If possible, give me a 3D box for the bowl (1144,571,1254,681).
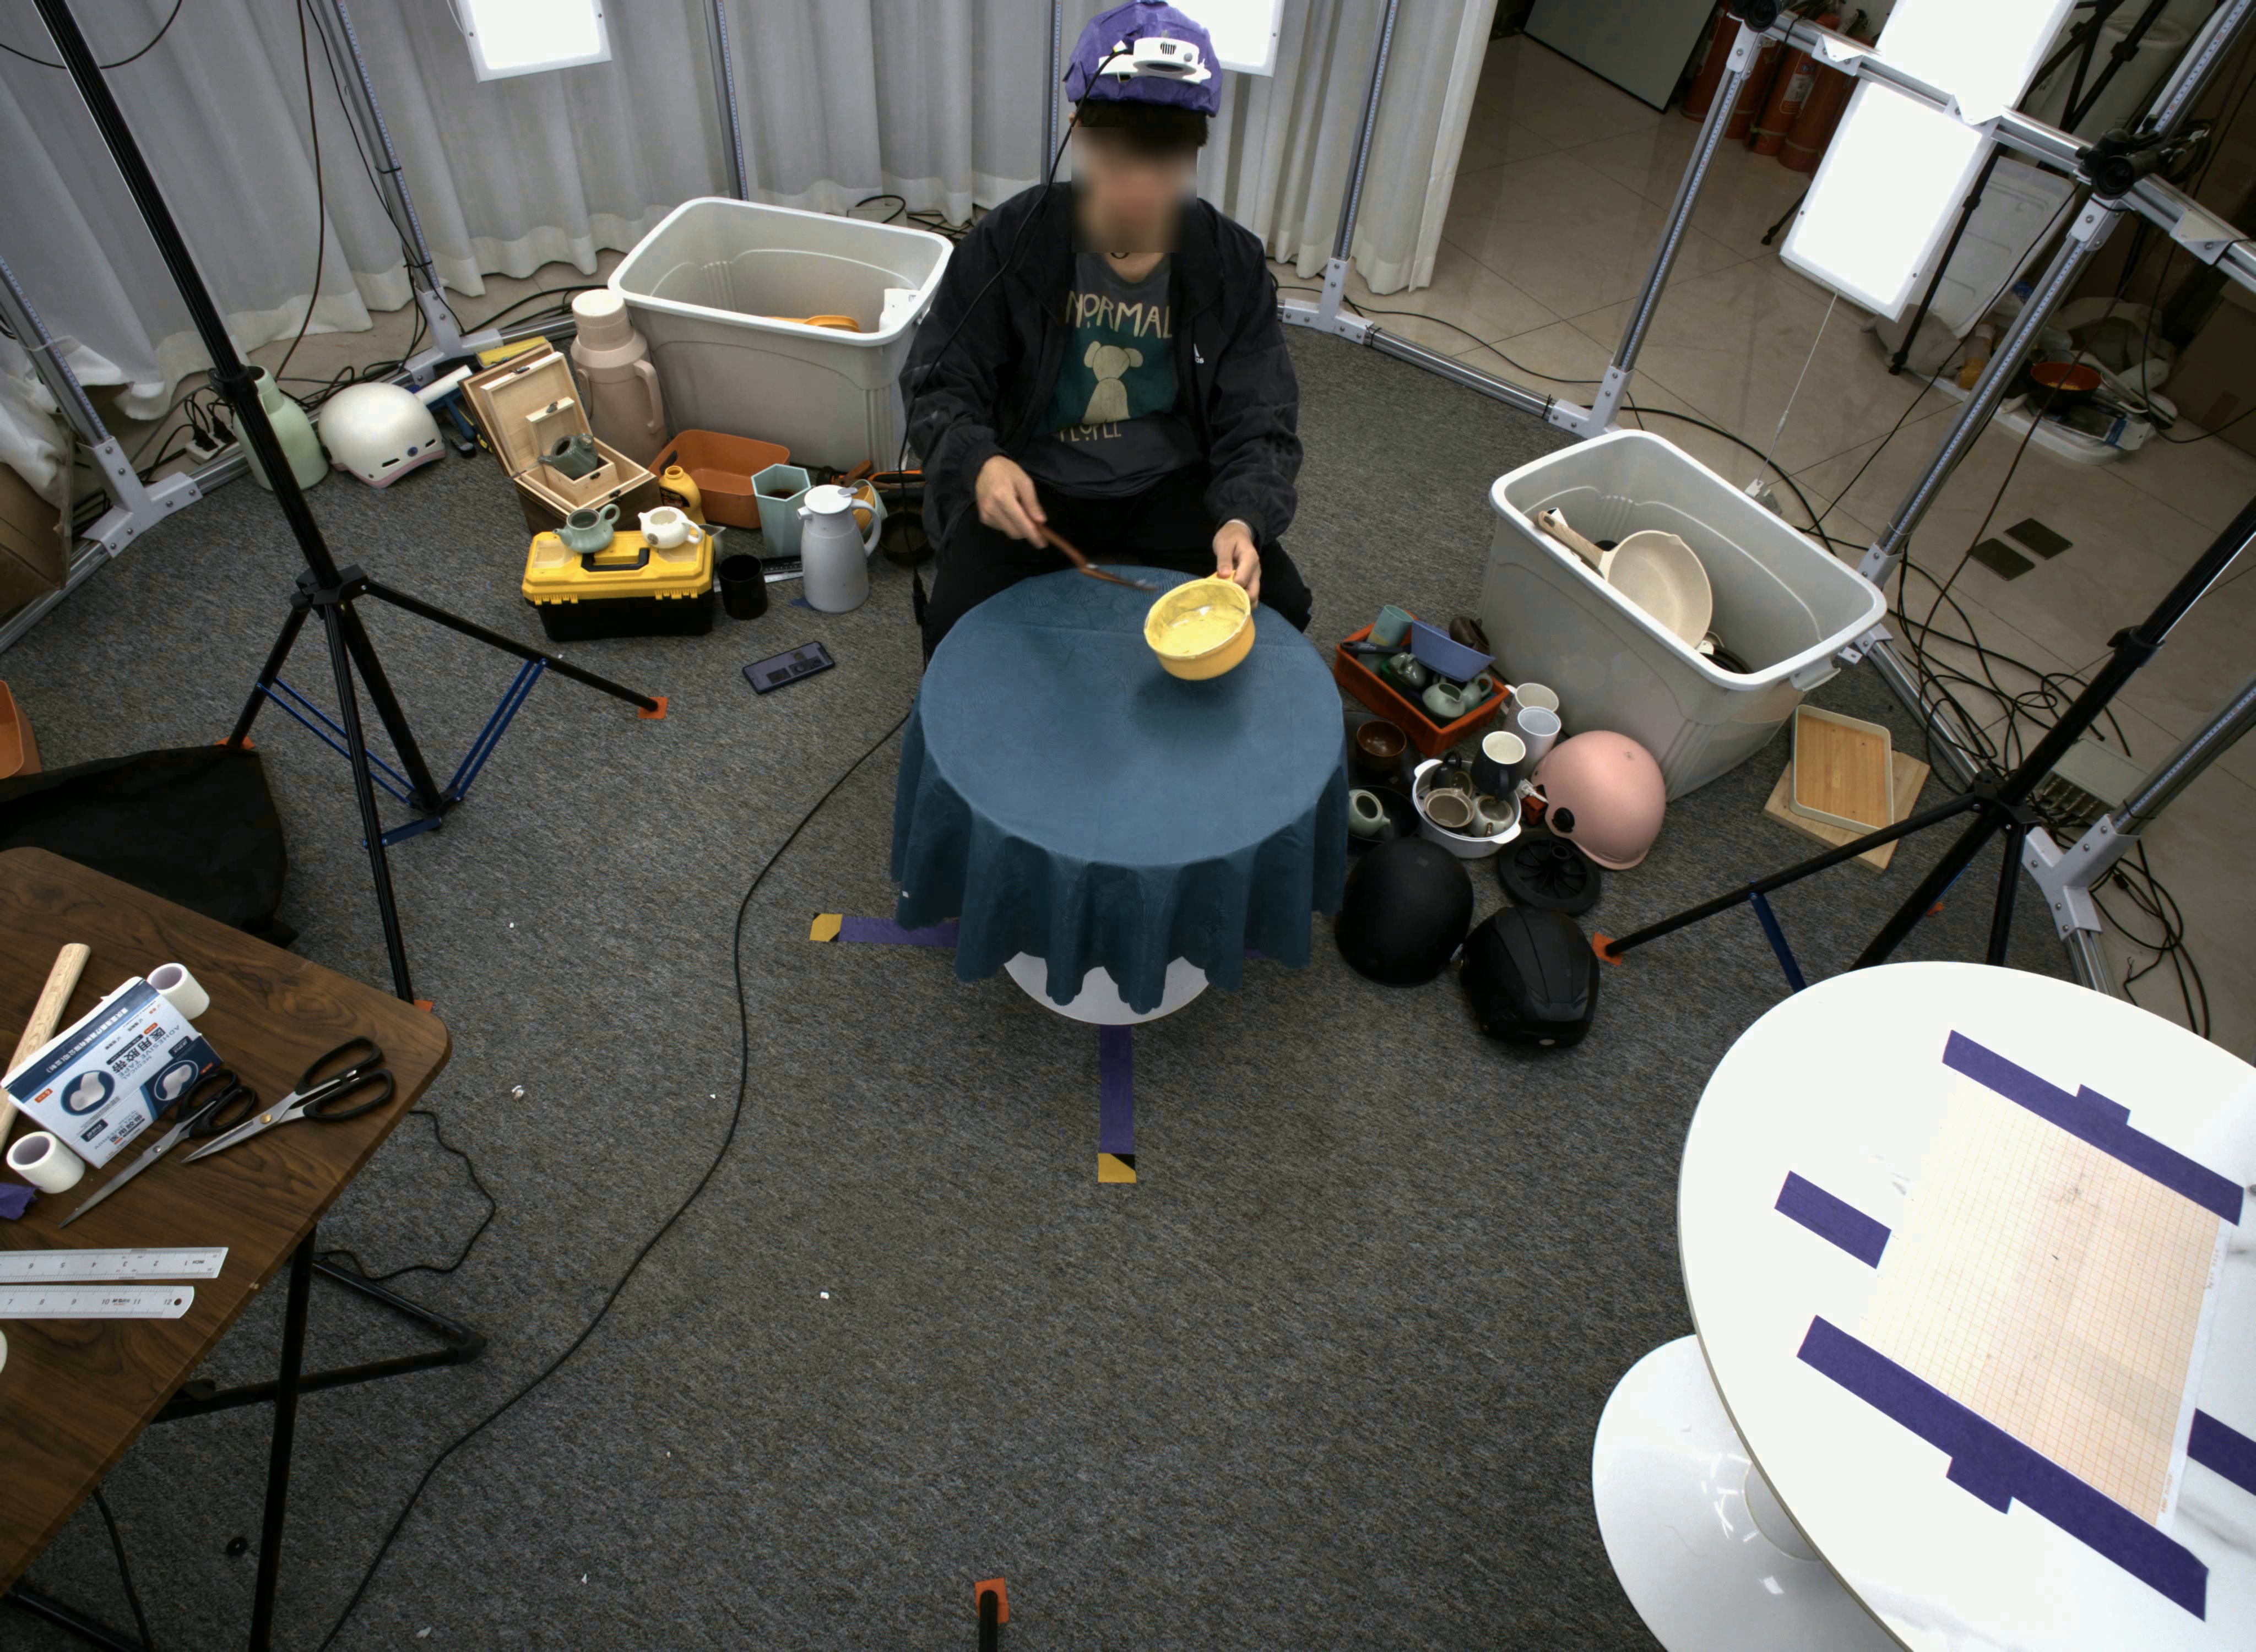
[{"bbox_3d":[0.111,-0.281,1.807,0.154,0.072,0.182,7,55,29],"label":"bowl"}]

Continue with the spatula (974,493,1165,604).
[{"bbox_3d":[-0.098,-0.391,1.811,0.393,0.024,0.085,39,20,34],"label":"spatula"}]
